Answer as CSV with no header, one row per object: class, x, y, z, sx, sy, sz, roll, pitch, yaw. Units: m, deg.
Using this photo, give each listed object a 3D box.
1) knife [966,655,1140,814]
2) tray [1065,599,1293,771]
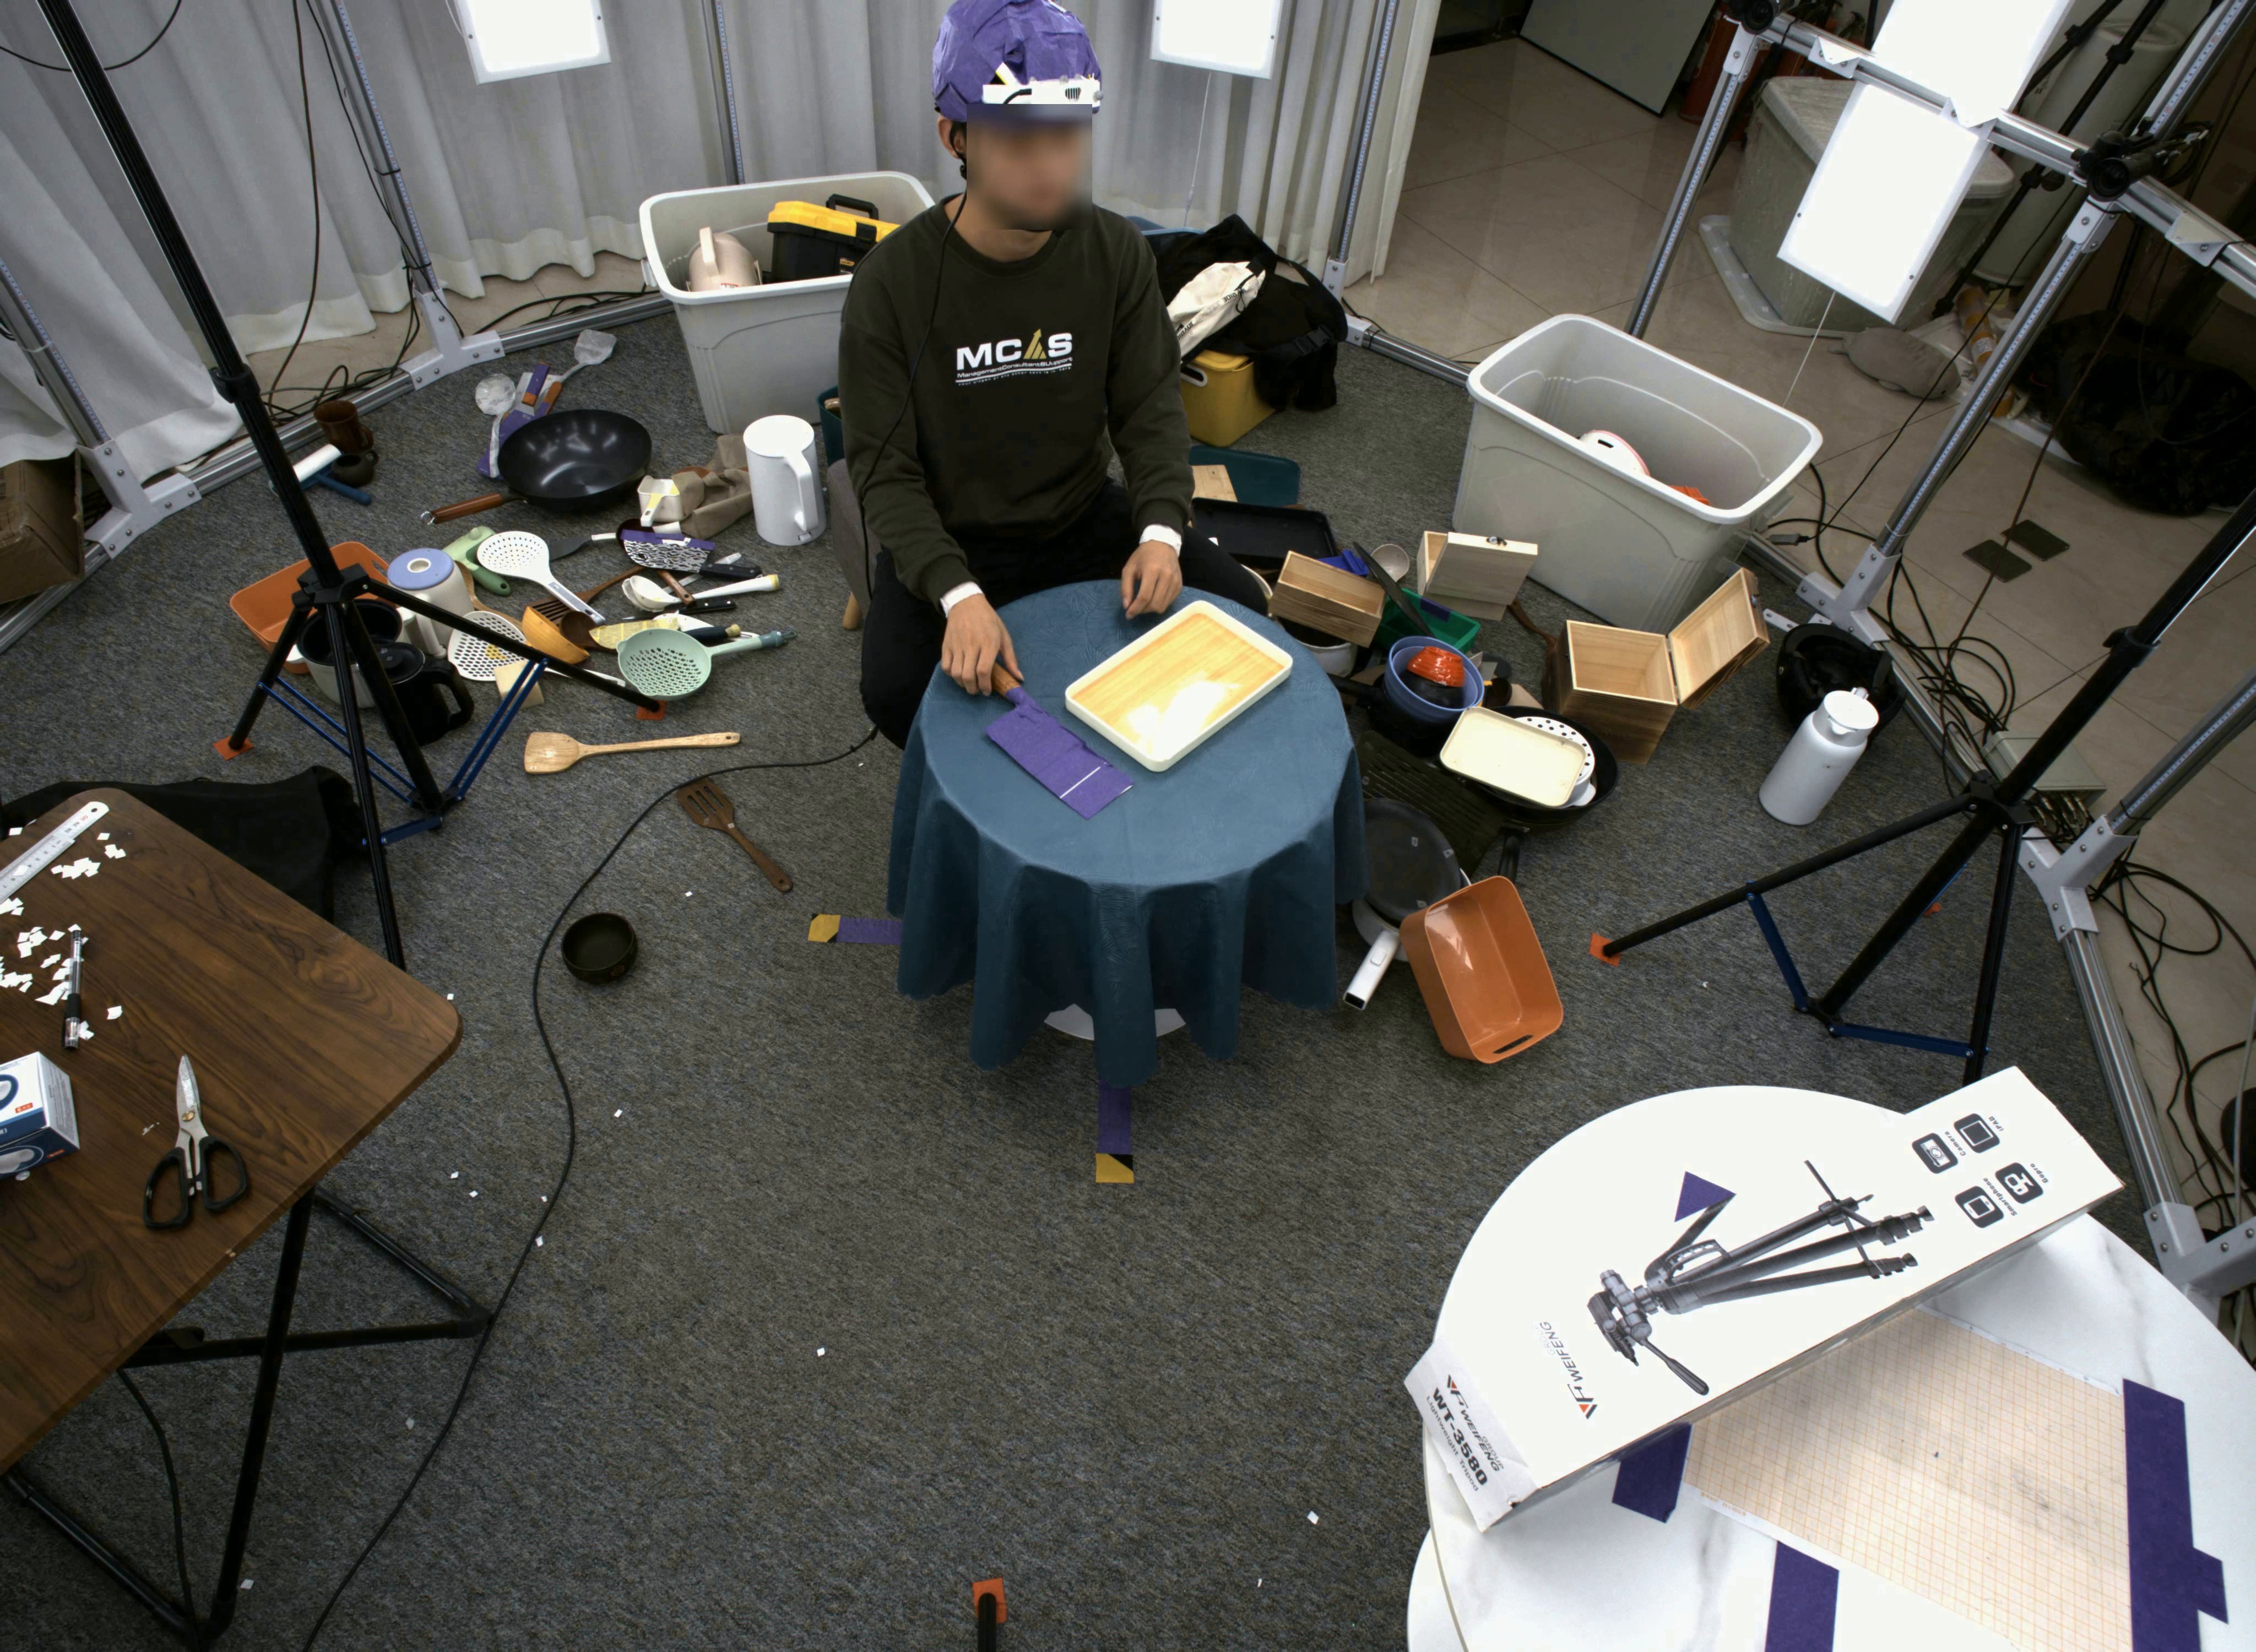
knife,-0.129,-0.129,1.752,0.320,0.031,0.105,38,57,25
tray,0.075,-0.208,1.834,0.194,0.027,0.303,37,56,25
